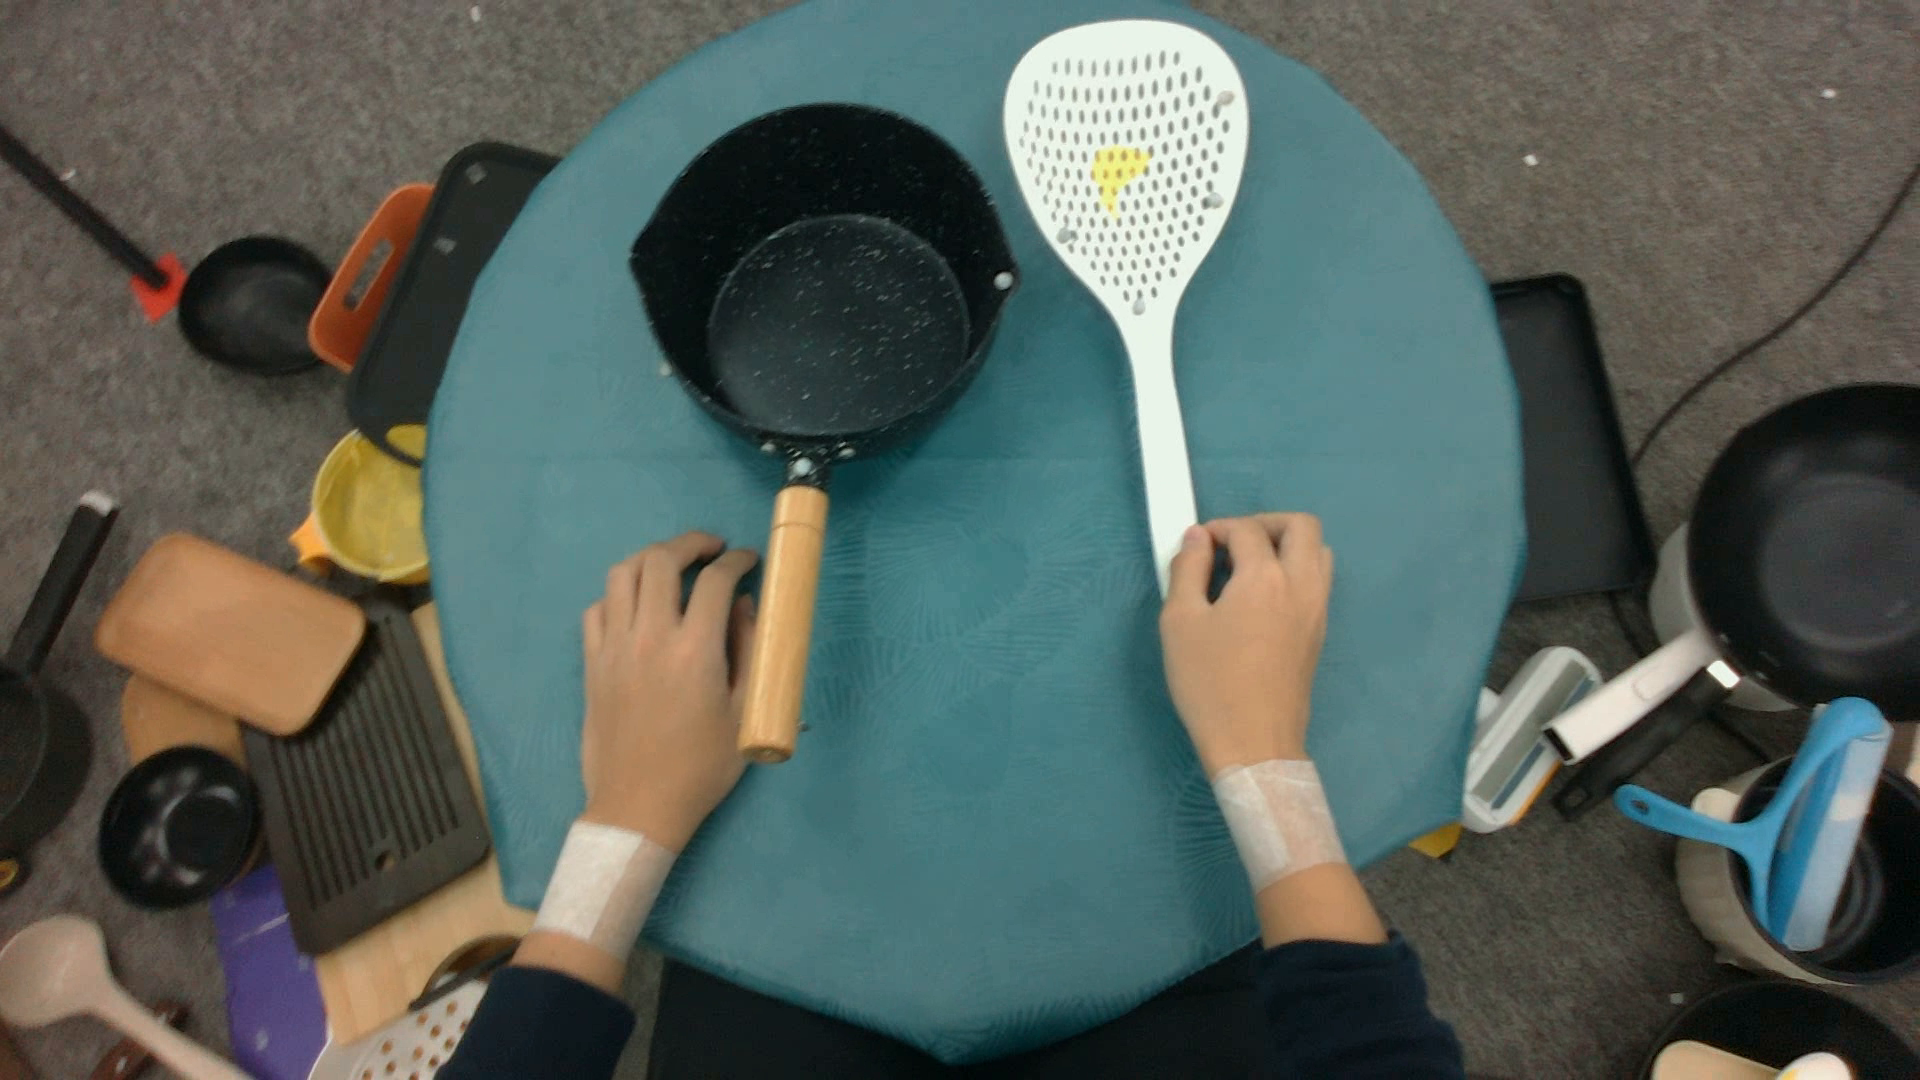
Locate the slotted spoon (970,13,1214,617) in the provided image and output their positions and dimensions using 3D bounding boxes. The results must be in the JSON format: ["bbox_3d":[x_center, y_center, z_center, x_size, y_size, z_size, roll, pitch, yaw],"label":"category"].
[{"bbox_3d":[0.090,-0.130,0.755,0.137,0.050,0.348,-7,72,-5],"label":"slotted spoon"}]

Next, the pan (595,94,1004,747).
[{"bbox_3d":[-0.083,-0.060,0.700,0.207,0.108,0.343,1,72,-1],"label":"pan"}]
